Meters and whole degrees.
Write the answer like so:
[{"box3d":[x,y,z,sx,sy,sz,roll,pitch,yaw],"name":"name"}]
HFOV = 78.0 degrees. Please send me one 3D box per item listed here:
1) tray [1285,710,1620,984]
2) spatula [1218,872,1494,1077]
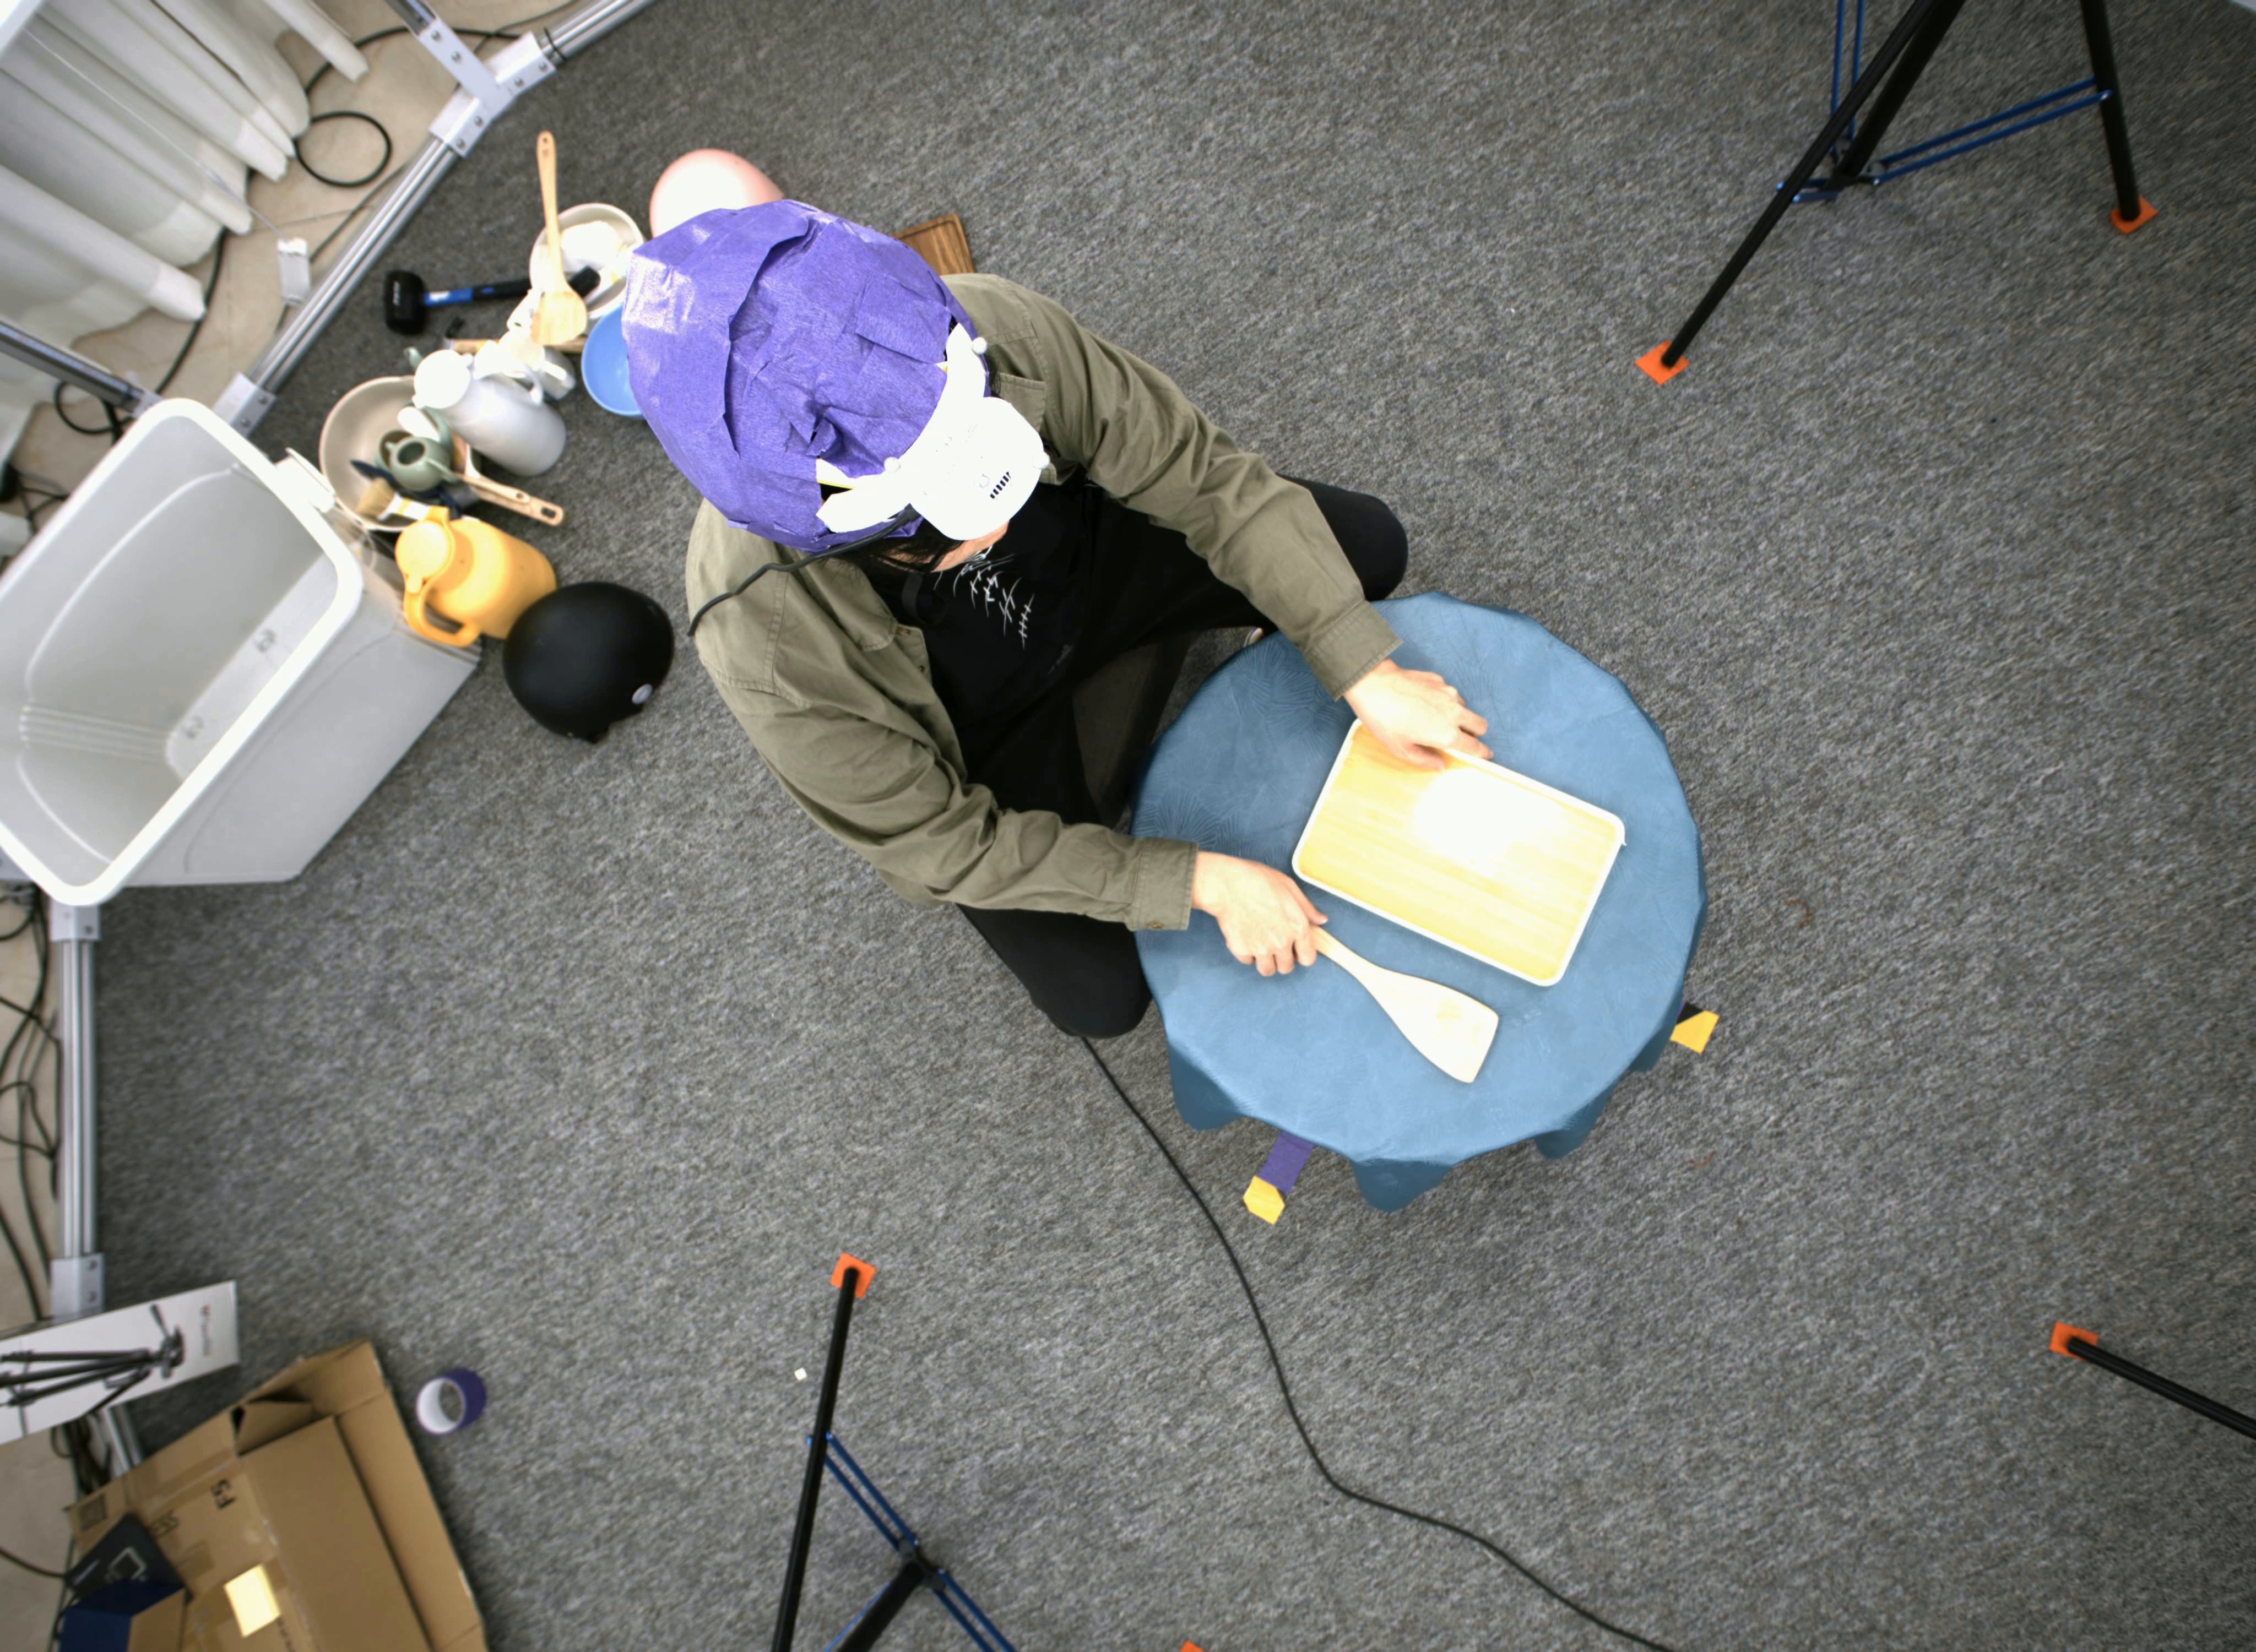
[{"box3d":[0.332,0.018,1.425,0.300,0.027,0.192,25,92,11],"name":"tray"},{"box3d":[0.233,0.140,1.444,0.327,0.016,0.080,33,93,9],"name":"spatula"}]
